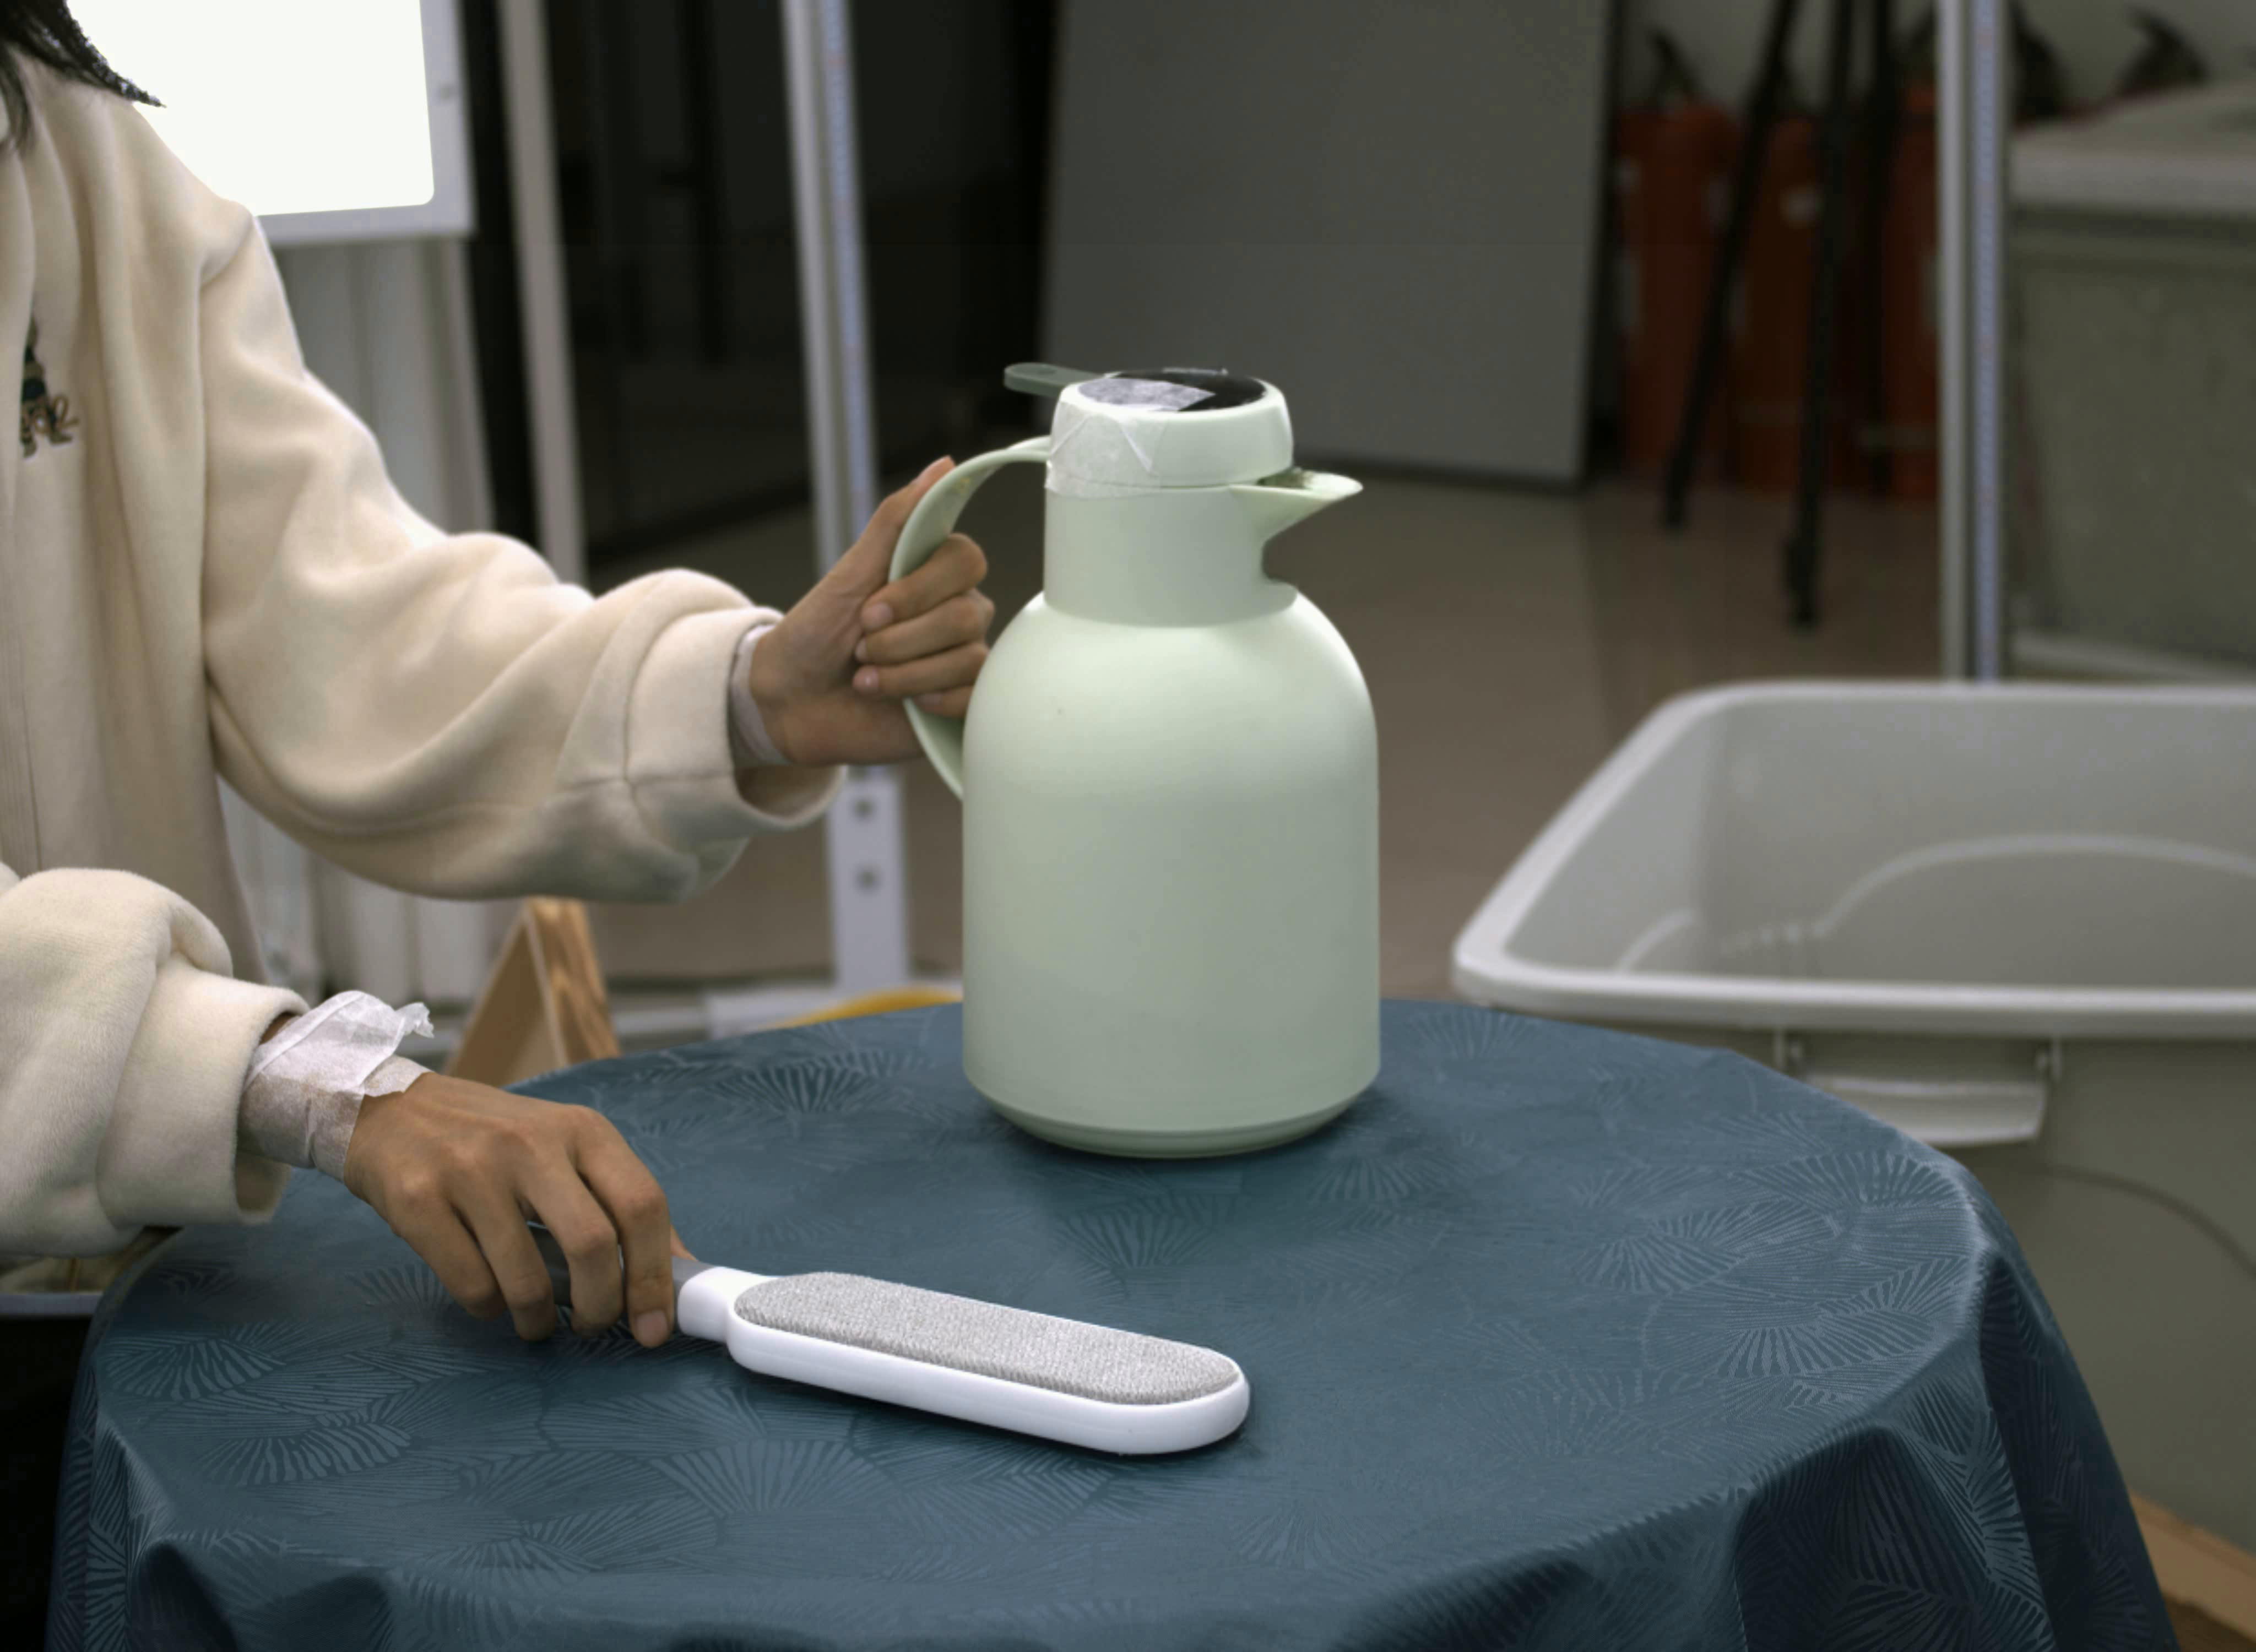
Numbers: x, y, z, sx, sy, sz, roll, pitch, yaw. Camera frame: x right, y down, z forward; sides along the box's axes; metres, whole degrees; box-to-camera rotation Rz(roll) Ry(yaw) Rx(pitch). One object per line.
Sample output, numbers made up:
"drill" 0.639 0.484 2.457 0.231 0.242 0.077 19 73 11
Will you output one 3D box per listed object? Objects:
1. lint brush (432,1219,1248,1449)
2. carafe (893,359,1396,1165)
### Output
"lint brush" -0.093 0.149 1.624 0.311 0.021 0.059 7 19 37
"carafe" 0.004 -0.027 1.828 0.188 0.259 0.142 7 19 36
